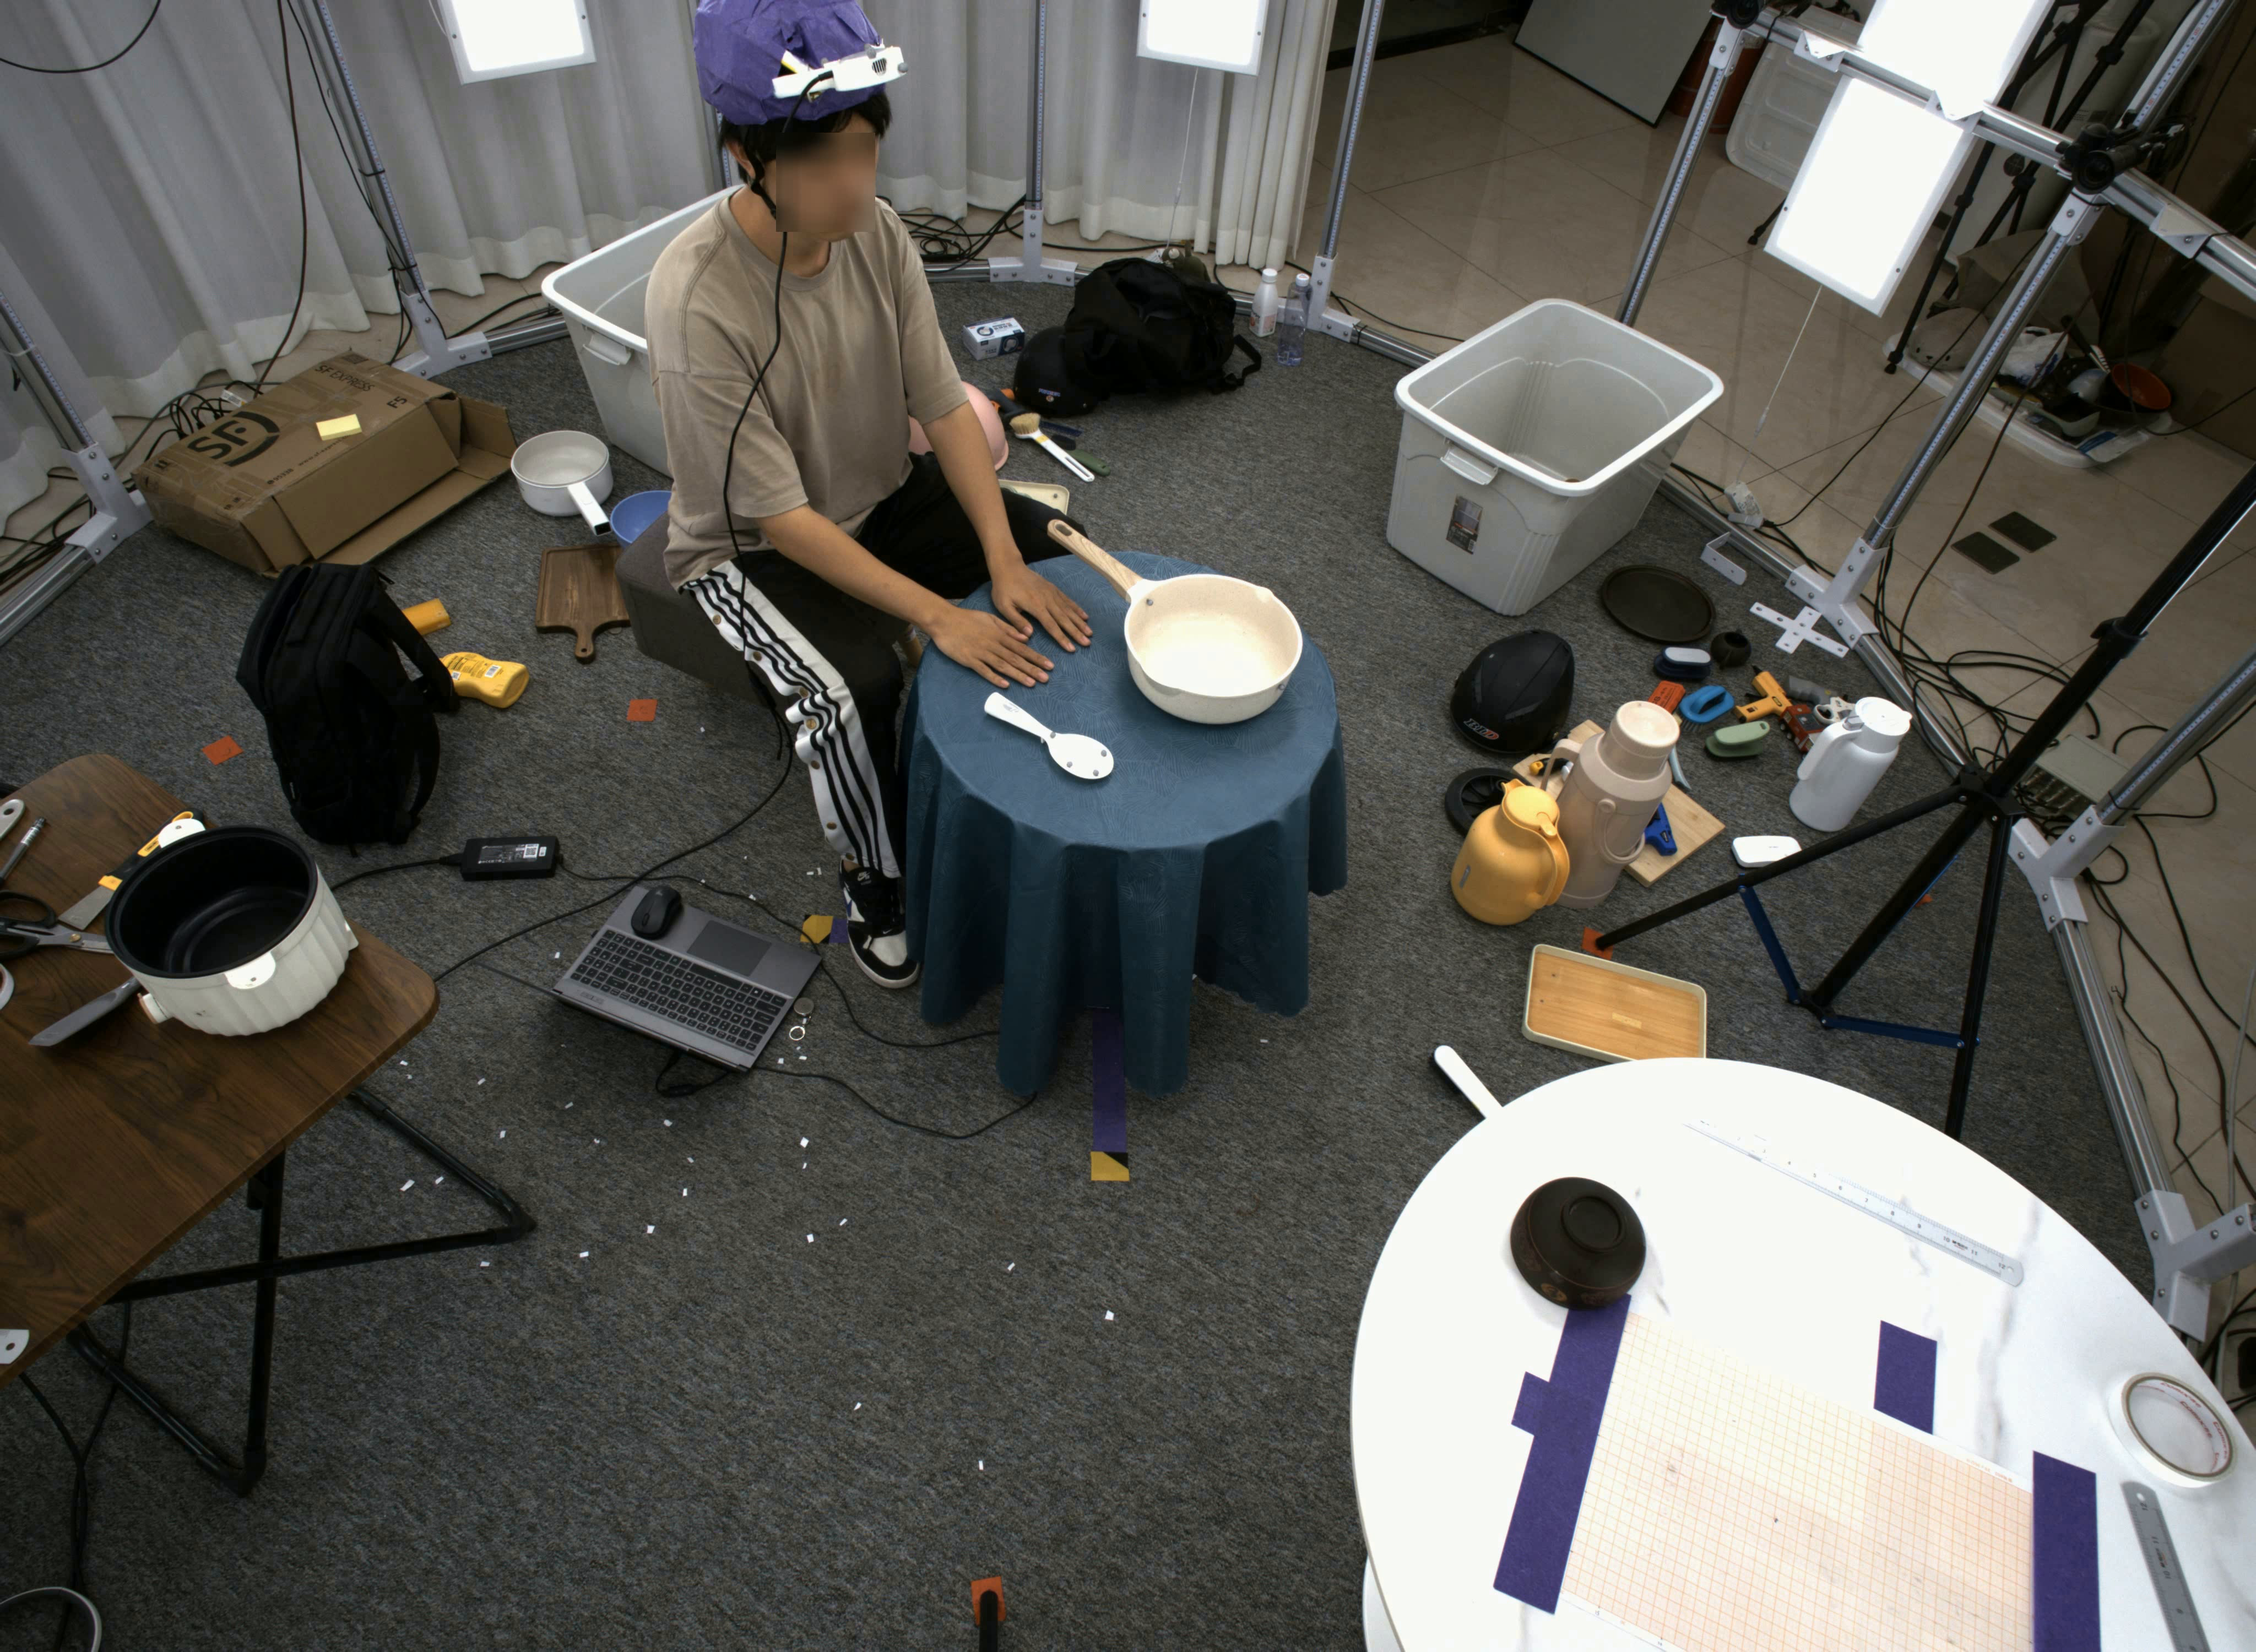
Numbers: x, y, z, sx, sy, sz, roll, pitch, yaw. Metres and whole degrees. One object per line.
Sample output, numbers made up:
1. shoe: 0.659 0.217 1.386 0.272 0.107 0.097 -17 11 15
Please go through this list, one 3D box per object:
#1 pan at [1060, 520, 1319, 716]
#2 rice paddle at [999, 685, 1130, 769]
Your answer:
1. pan: 0.072 -0.311 1.871 0.440 0.099 0.266 34 56 23
2. rice paddle: -0.085 -0.134 1.740 0.207 0.029 0.070 30 54 20
